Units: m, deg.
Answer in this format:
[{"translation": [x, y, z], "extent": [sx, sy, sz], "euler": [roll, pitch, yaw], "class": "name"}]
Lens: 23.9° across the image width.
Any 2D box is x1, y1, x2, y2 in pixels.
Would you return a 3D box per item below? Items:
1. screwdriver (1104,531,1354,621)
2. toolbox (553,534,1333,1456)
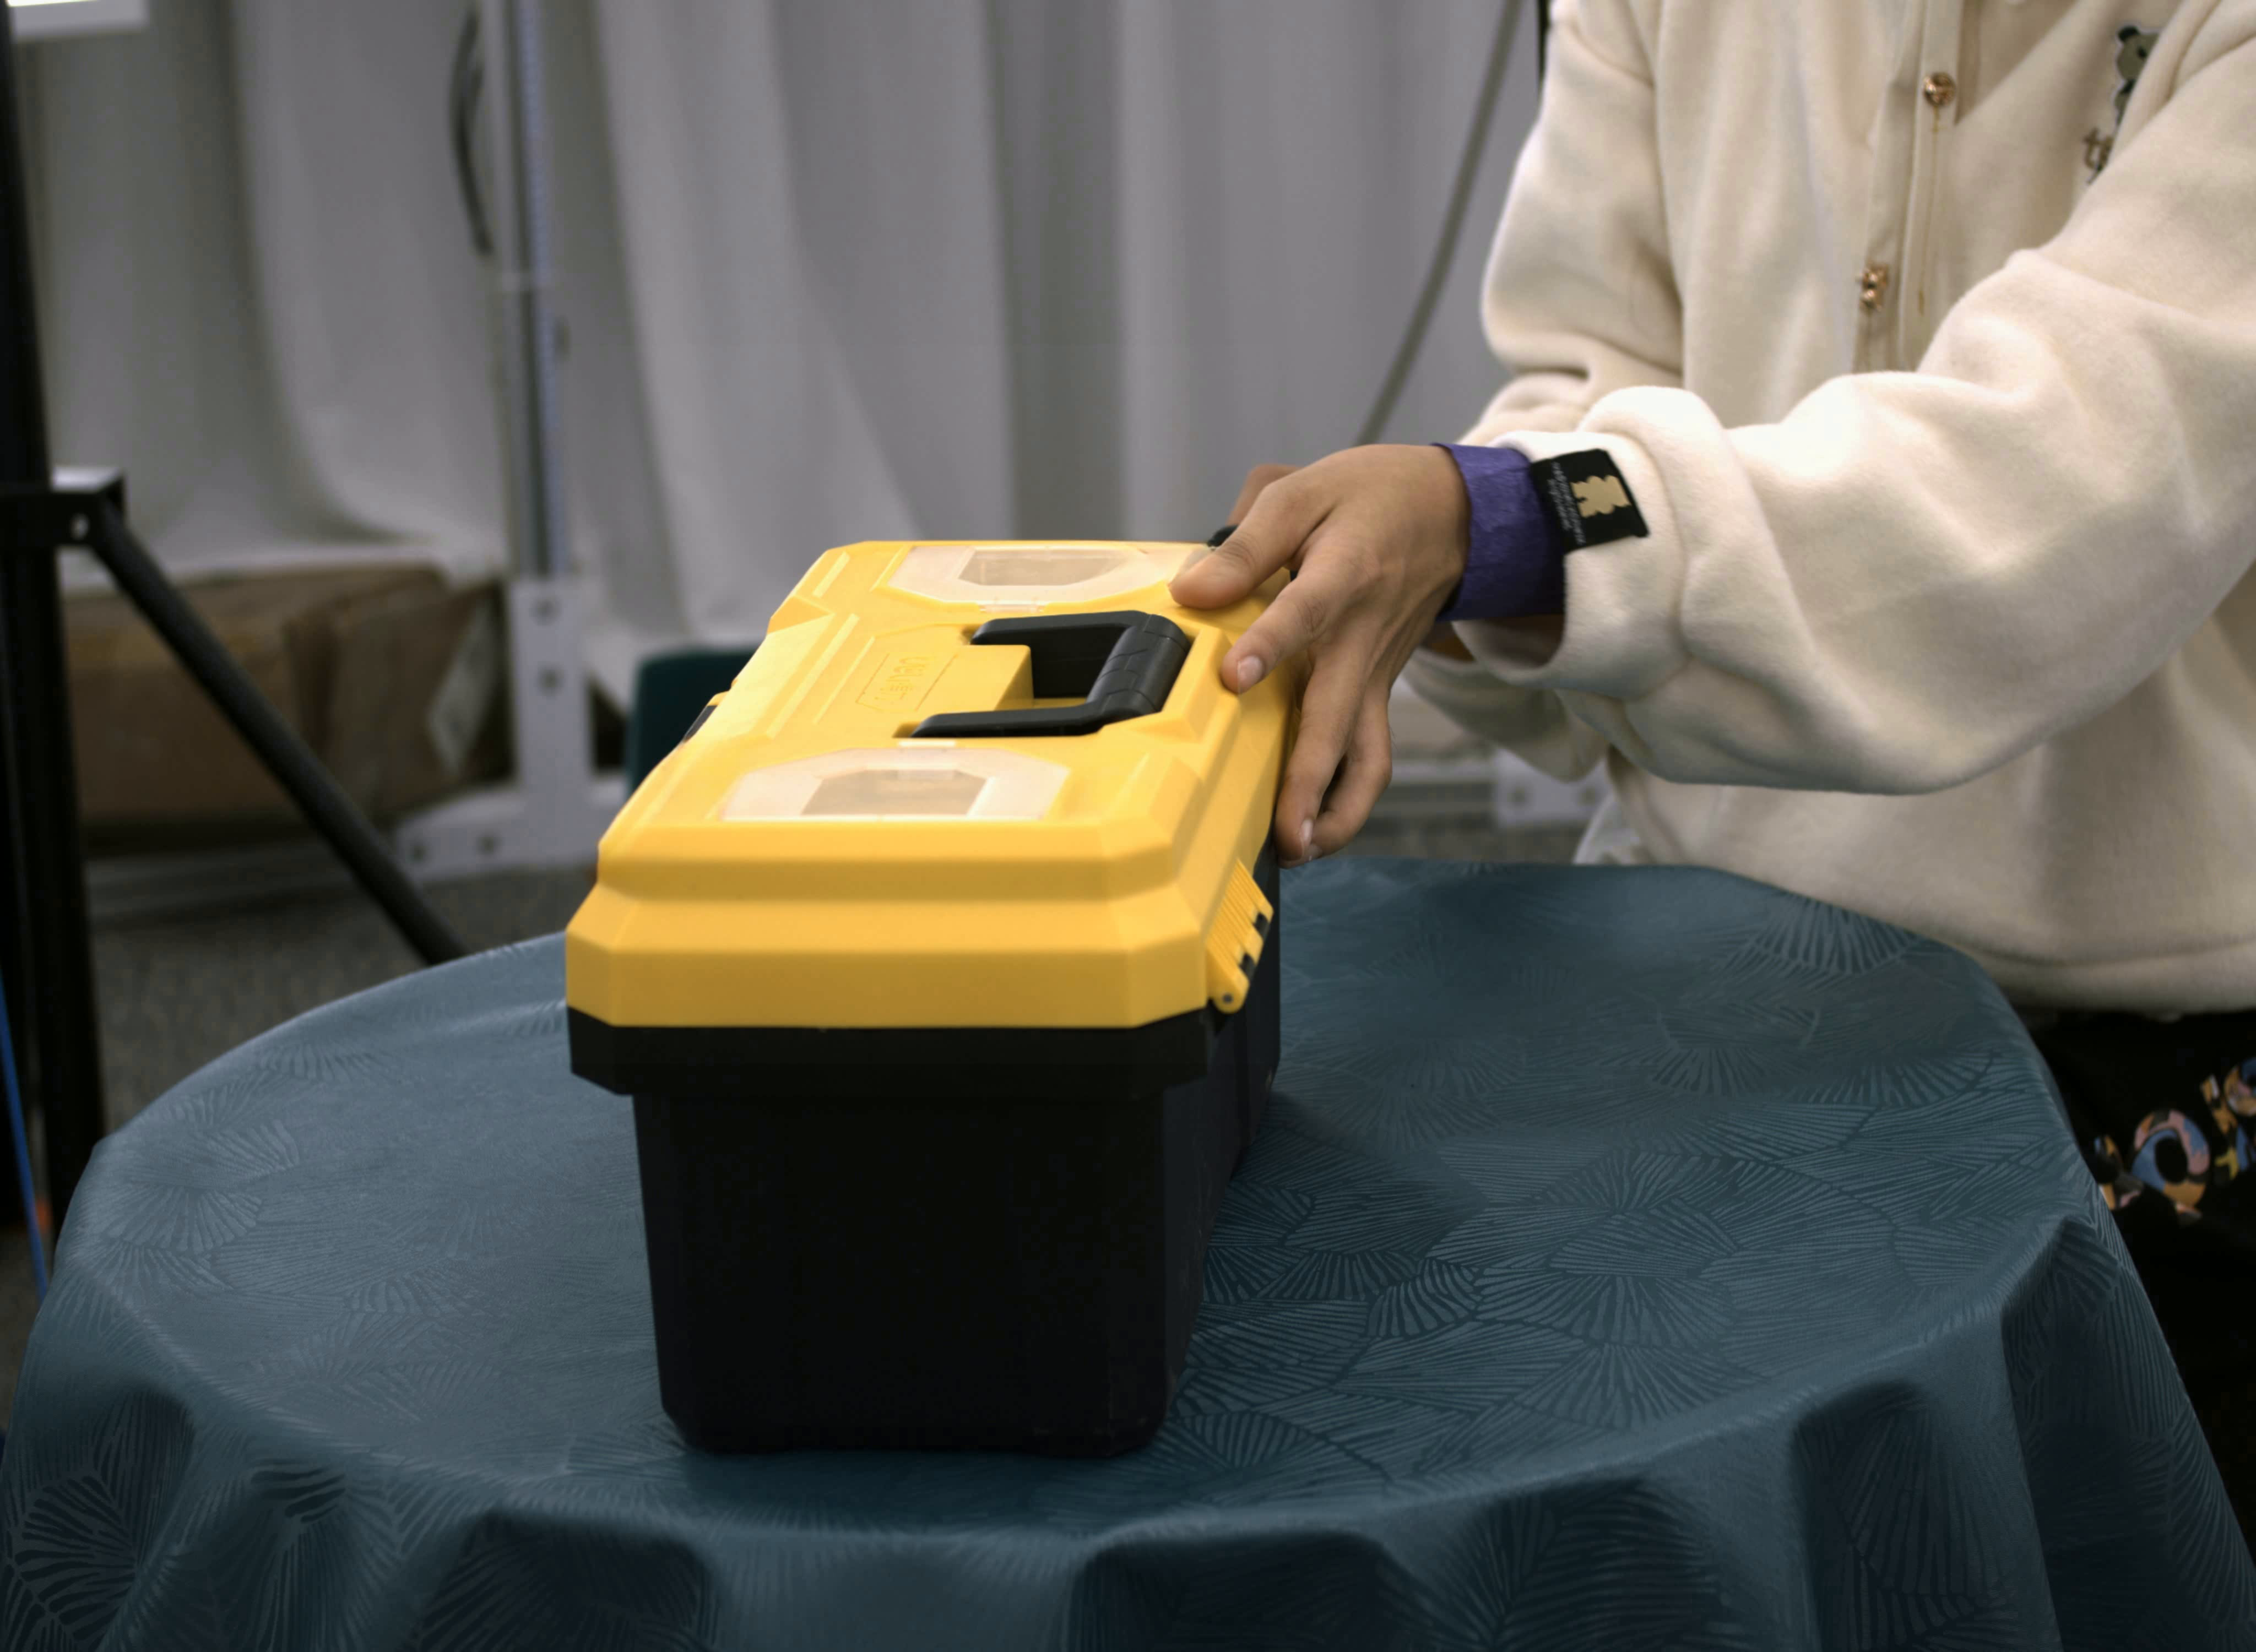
[{"translation": [0.031, -0.080, 1.724], "extent": [0.032, 0.031, 0.194], "euler": [5, 5, 22], "class": "screwdriver"}, {"translation": [-0.040, 0.038, 1.495], "extent": [0.182, 0.173, 0.350], "euler": [0, 16, 8], "class": "toolbox"}]
